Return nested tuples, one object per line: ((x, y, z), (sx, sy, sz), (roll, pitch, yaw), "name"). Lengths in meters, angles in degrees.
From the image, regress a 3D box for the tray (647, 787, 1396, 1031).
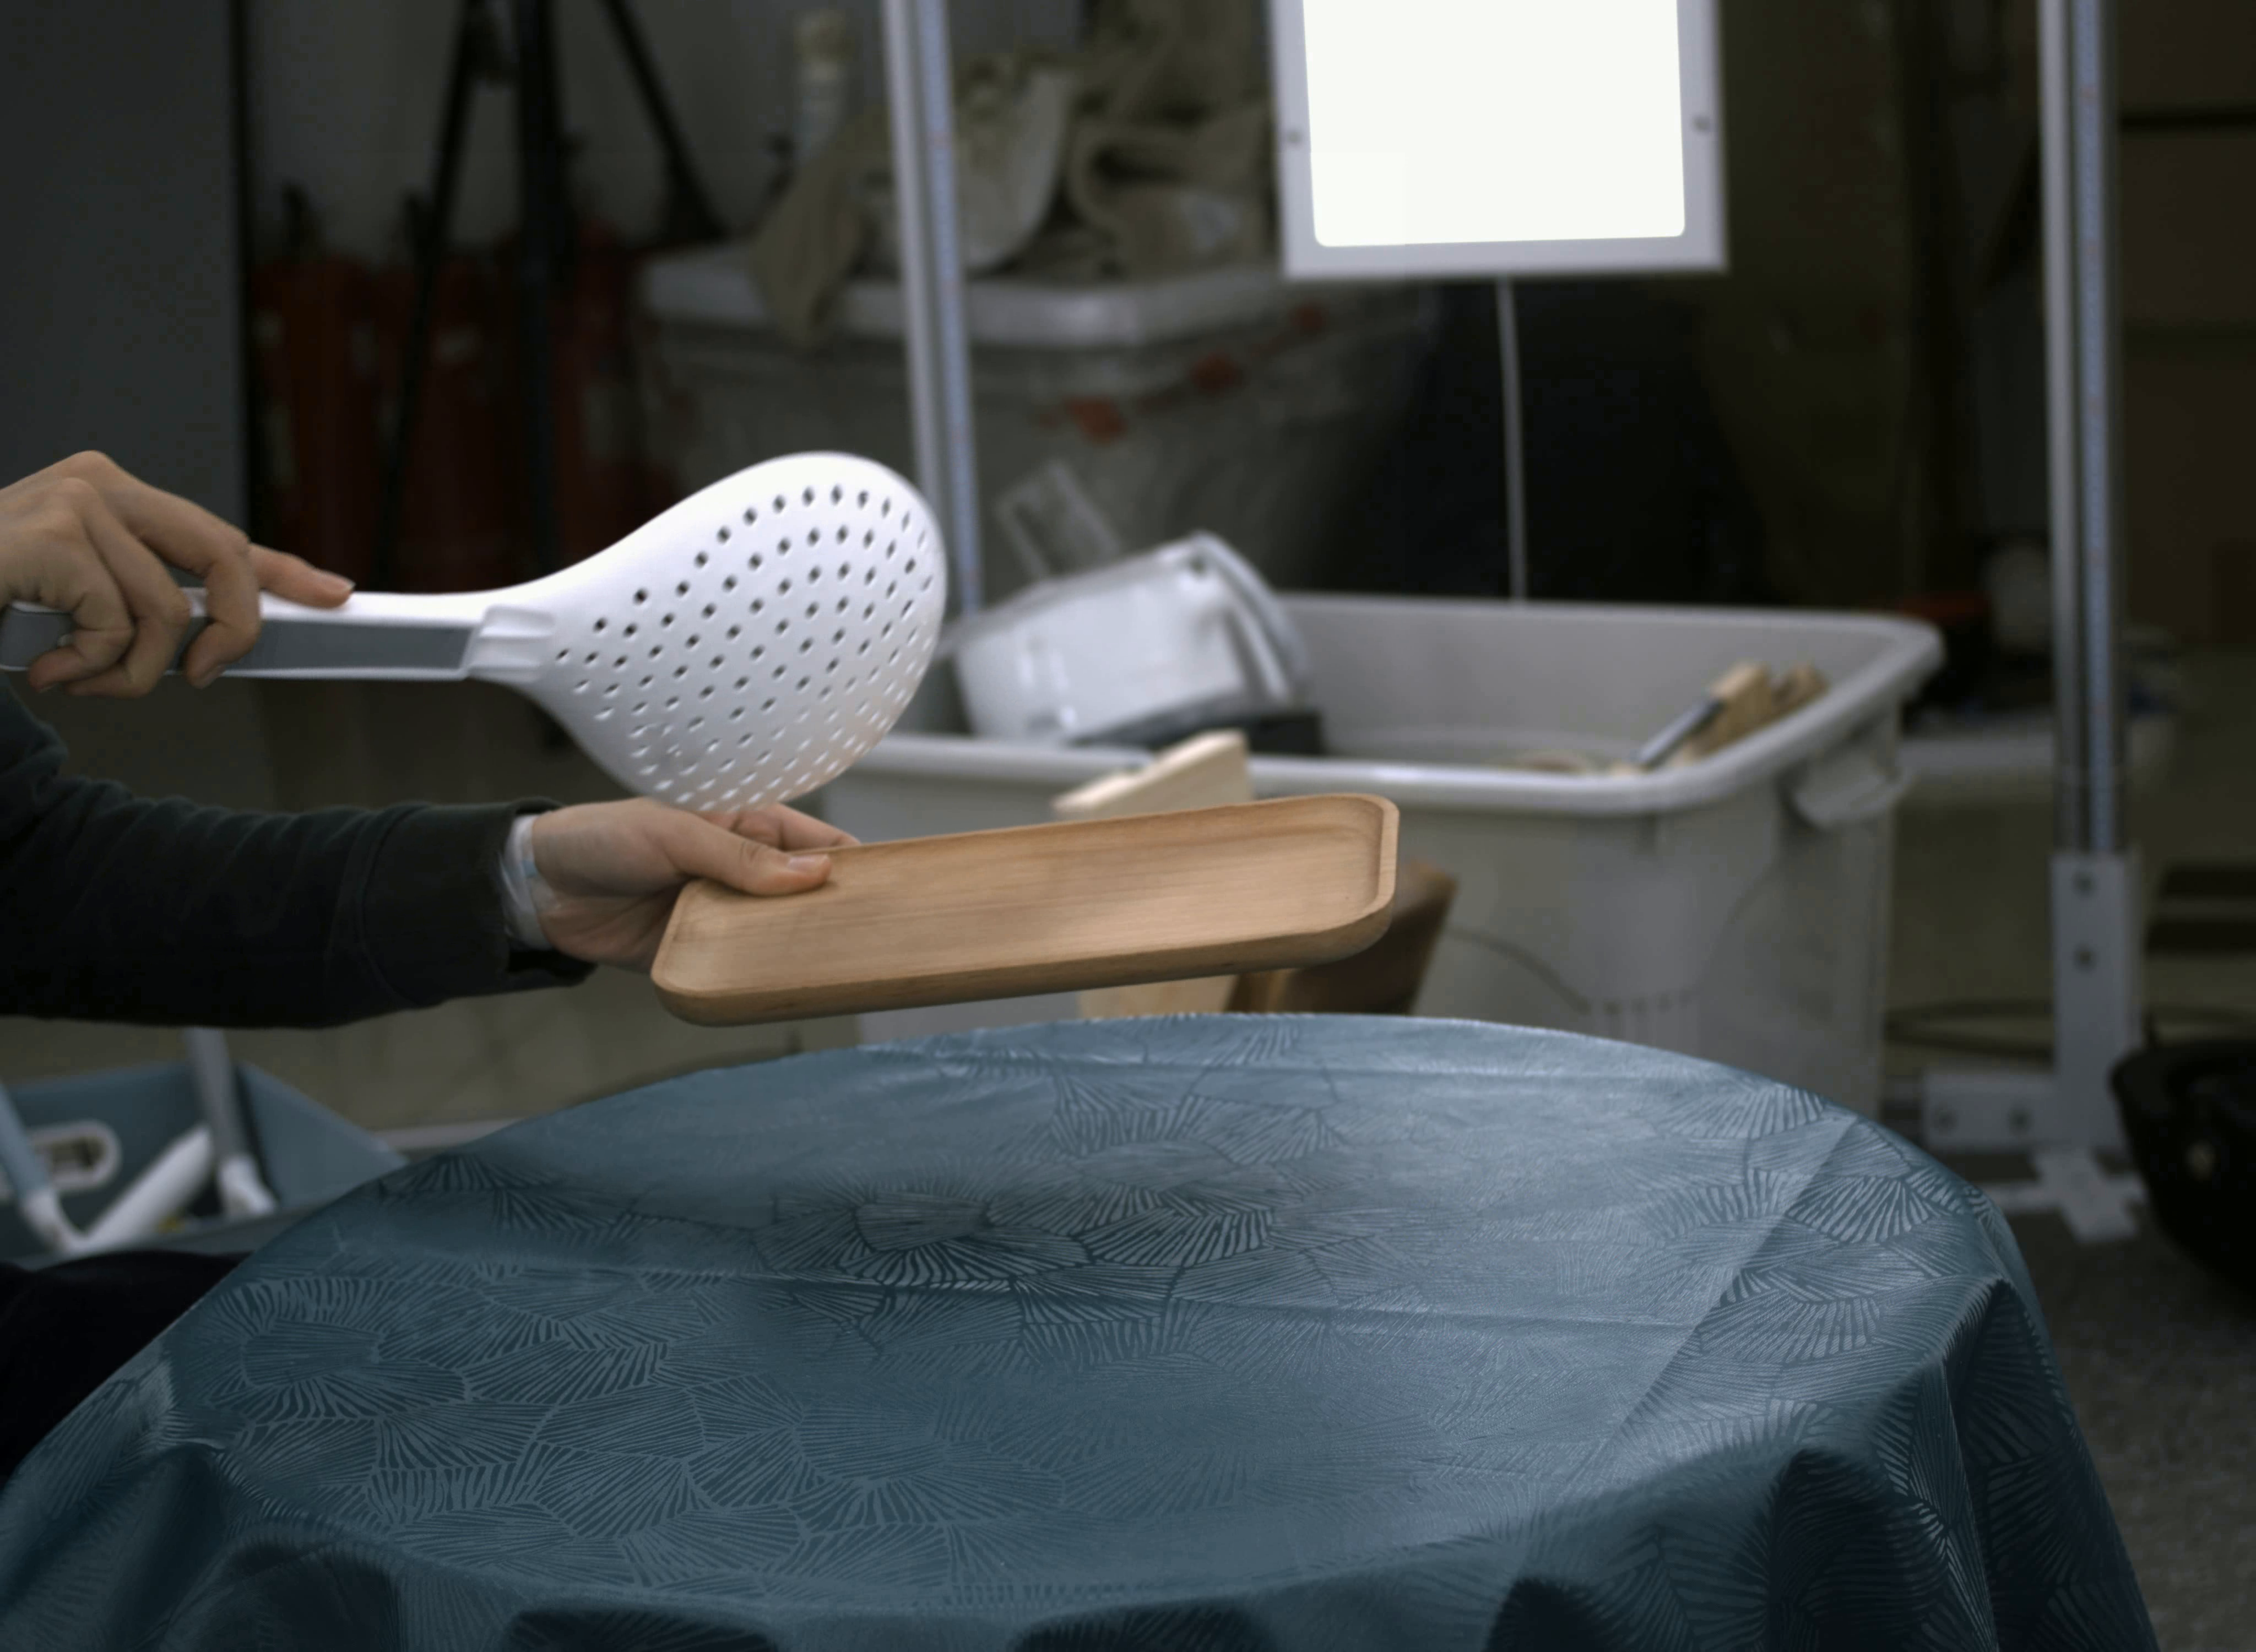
((-0.034, 0.028, 1.851), (0.252, 0.023, 0.129), (-7, 19, 10), "tray")

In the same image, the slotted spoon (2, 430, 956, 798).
((-0.197, -0.064, 1.765), (0.341, 0.137, 0.046), (1, 28, -31), "slotted spoon")
